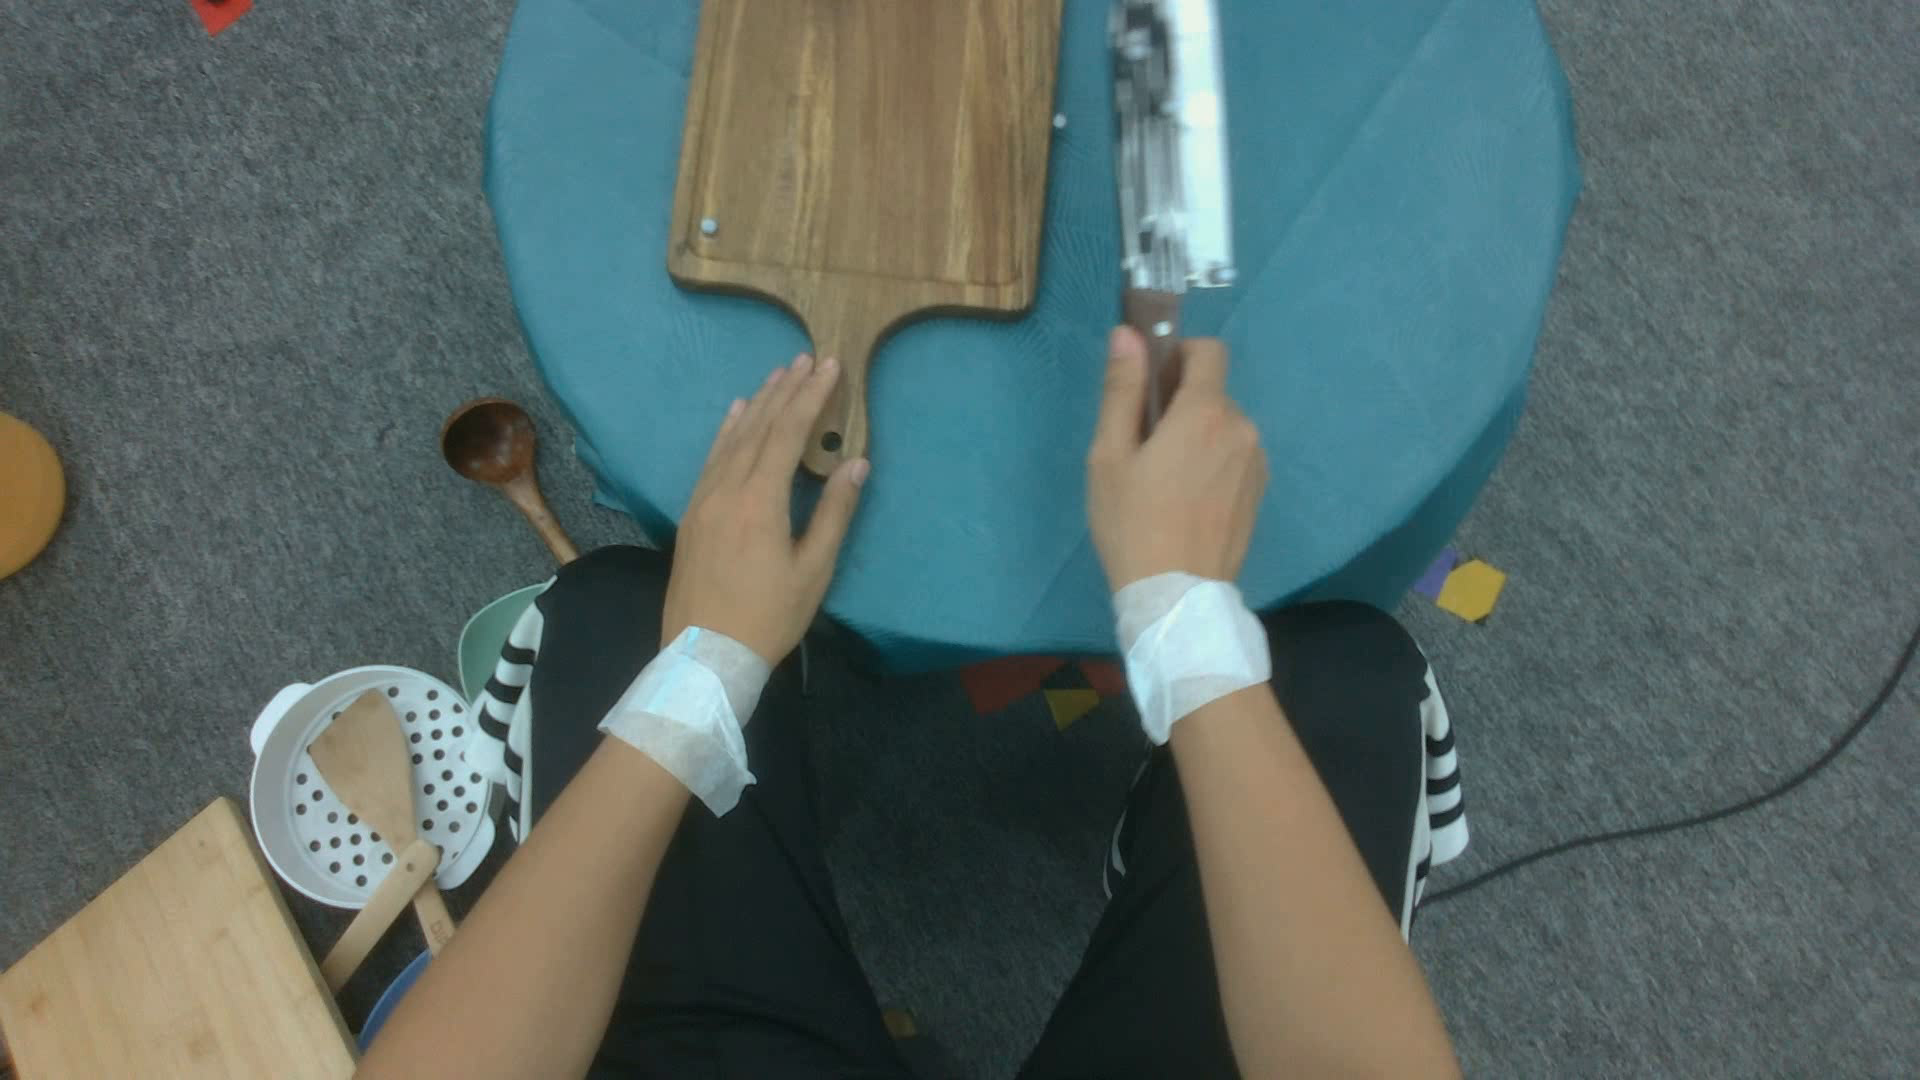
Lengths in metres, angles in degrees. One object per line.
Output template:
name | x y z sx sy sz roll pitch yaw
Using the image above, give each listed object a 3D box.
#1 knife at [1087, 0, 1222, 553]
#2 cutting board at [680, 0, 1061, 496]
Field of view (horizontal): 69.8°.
knife | 0.101 -0.145 0.682 0.068 0.024 0.299 -9 93 -30
cutting board | -0.050 -0.197 0.763 0.201 0.023 0.353 4 78 0
